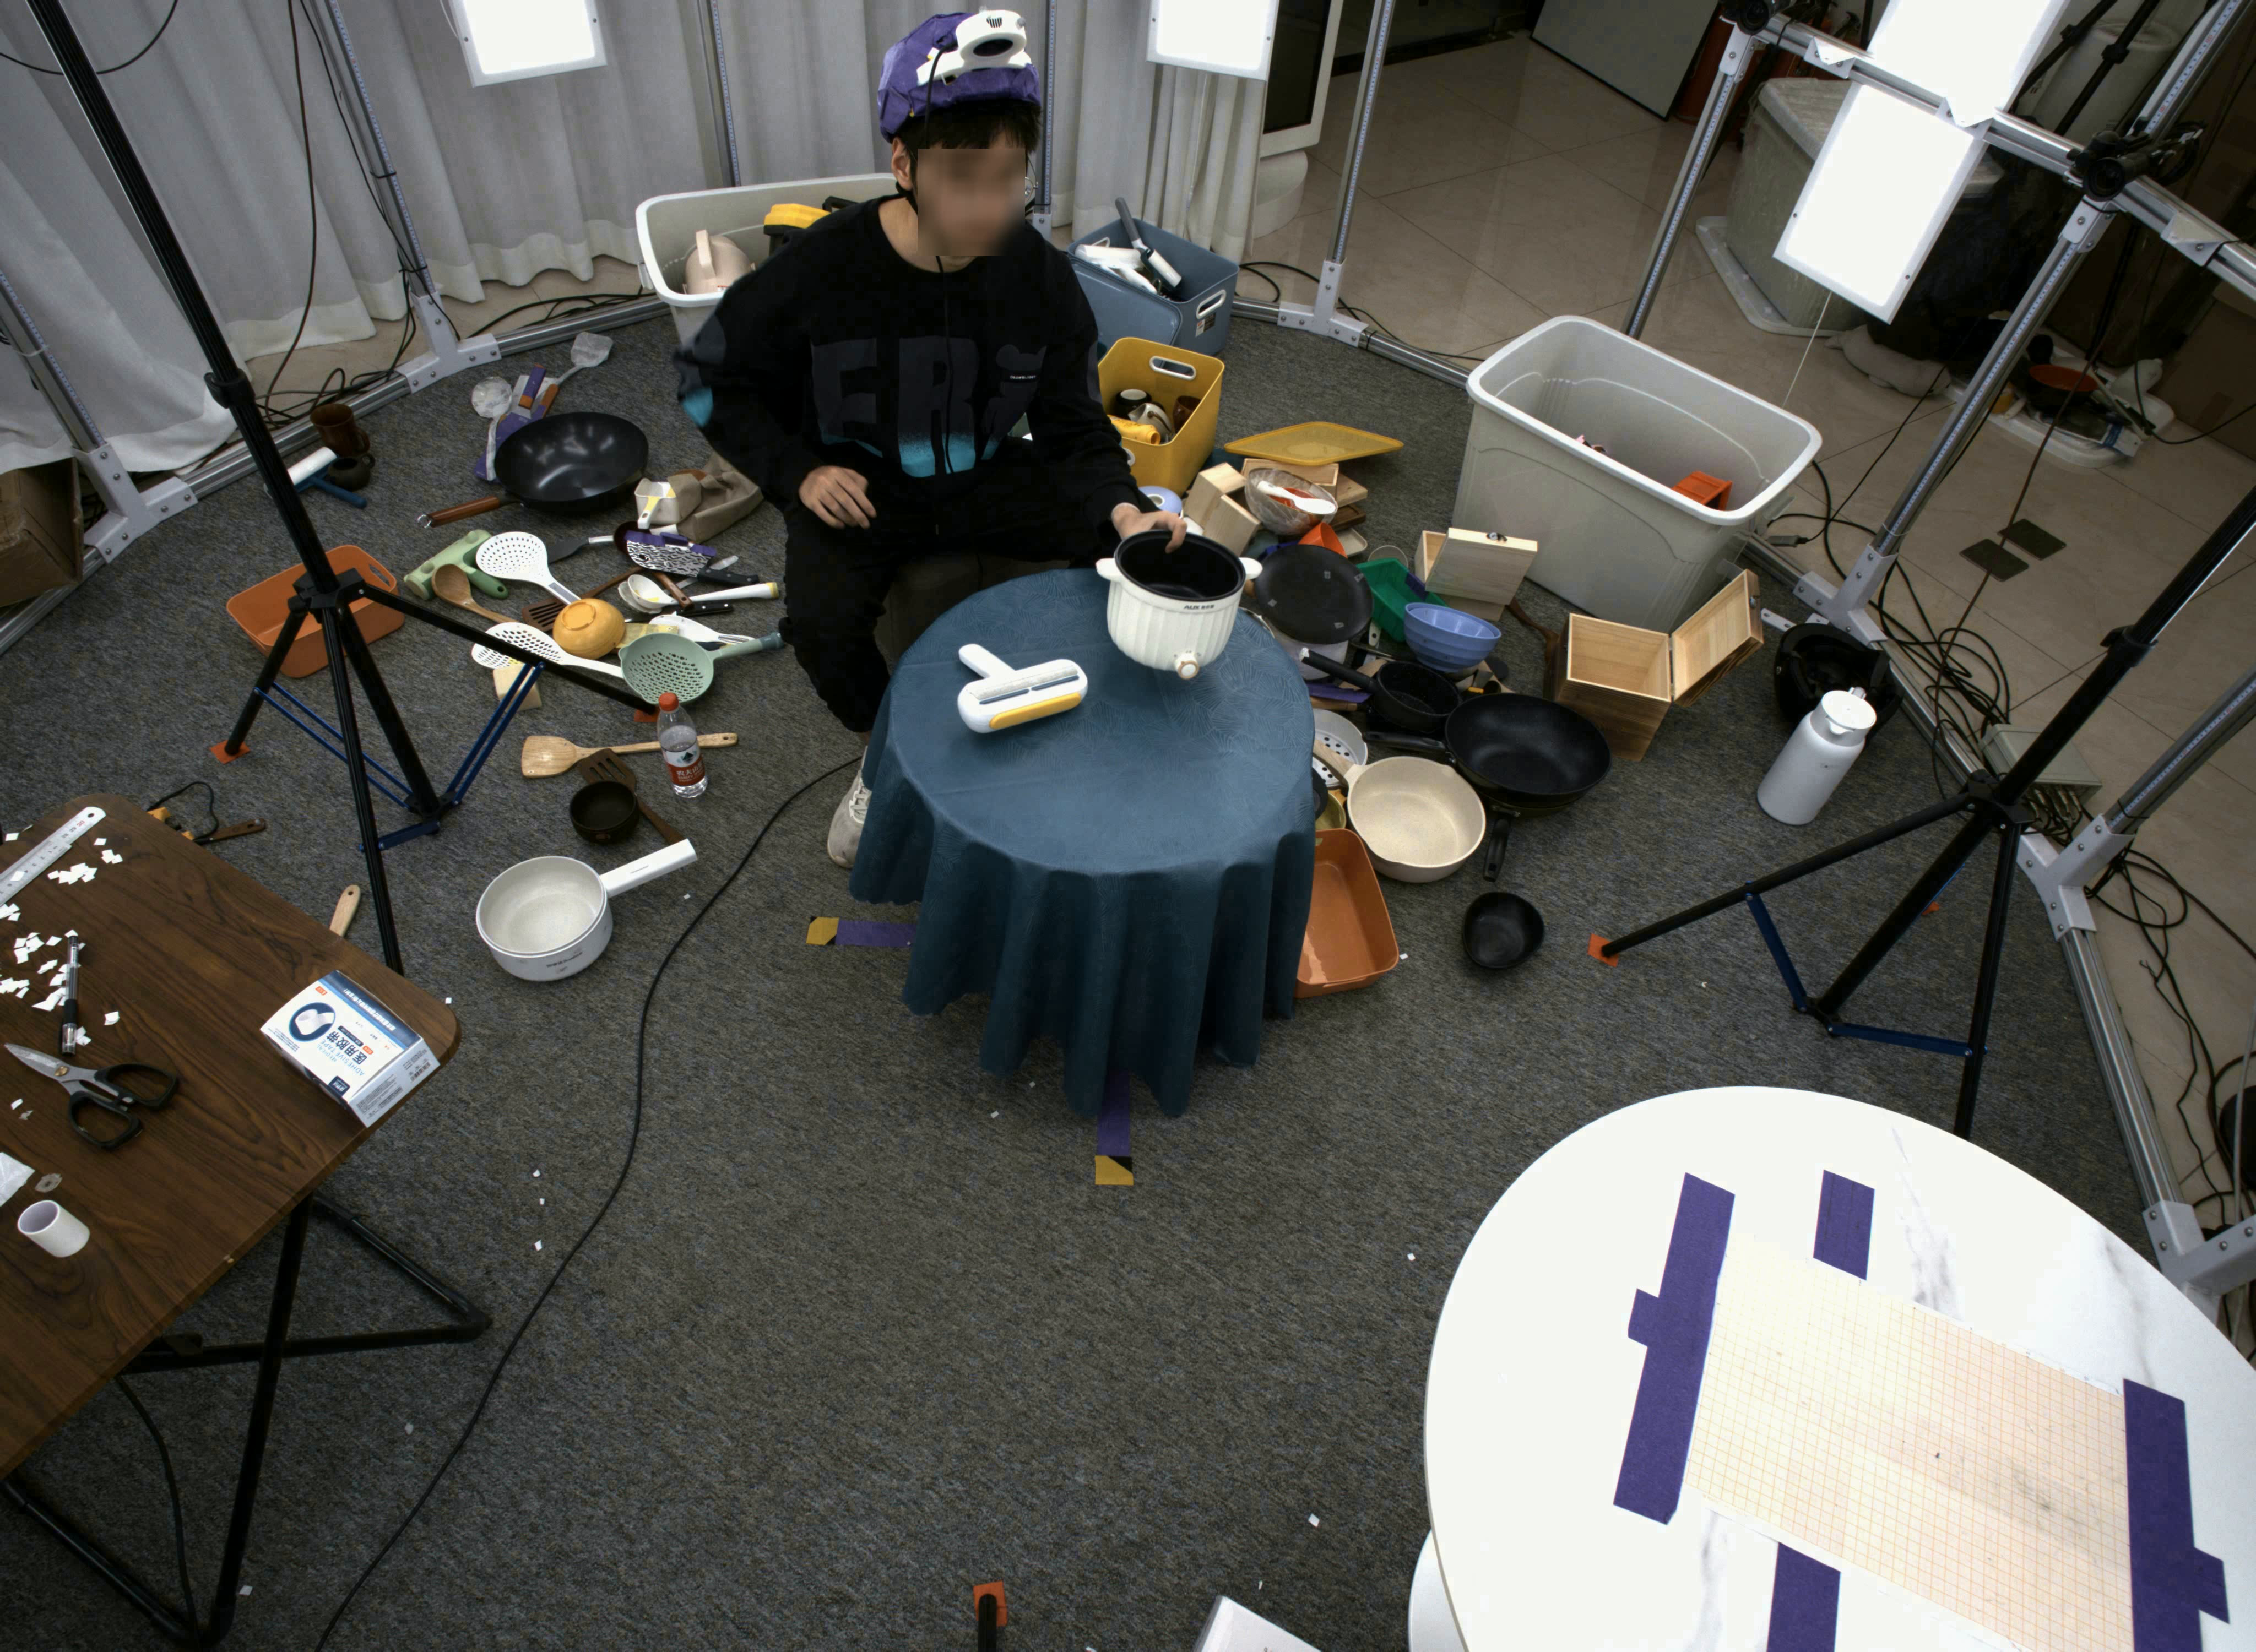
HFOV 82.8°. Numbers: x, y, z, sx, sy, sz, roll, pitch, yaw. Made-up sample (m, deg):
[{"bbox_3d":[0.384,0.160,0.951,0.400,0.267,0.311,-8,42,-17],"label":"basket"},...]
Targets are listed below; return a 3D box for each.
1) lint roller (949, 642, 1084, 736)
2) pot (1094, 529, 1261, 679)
[{"bbox_3d":[-0.180,-0.210,1.795,0.193,0.072,0.196,-19,51,-26],"label":"lint roller"},{"bbox_3d":[0.064,-0.304,1.782,0.240,0.139,0.195,-5,40,-16],"label":"pot"}]
